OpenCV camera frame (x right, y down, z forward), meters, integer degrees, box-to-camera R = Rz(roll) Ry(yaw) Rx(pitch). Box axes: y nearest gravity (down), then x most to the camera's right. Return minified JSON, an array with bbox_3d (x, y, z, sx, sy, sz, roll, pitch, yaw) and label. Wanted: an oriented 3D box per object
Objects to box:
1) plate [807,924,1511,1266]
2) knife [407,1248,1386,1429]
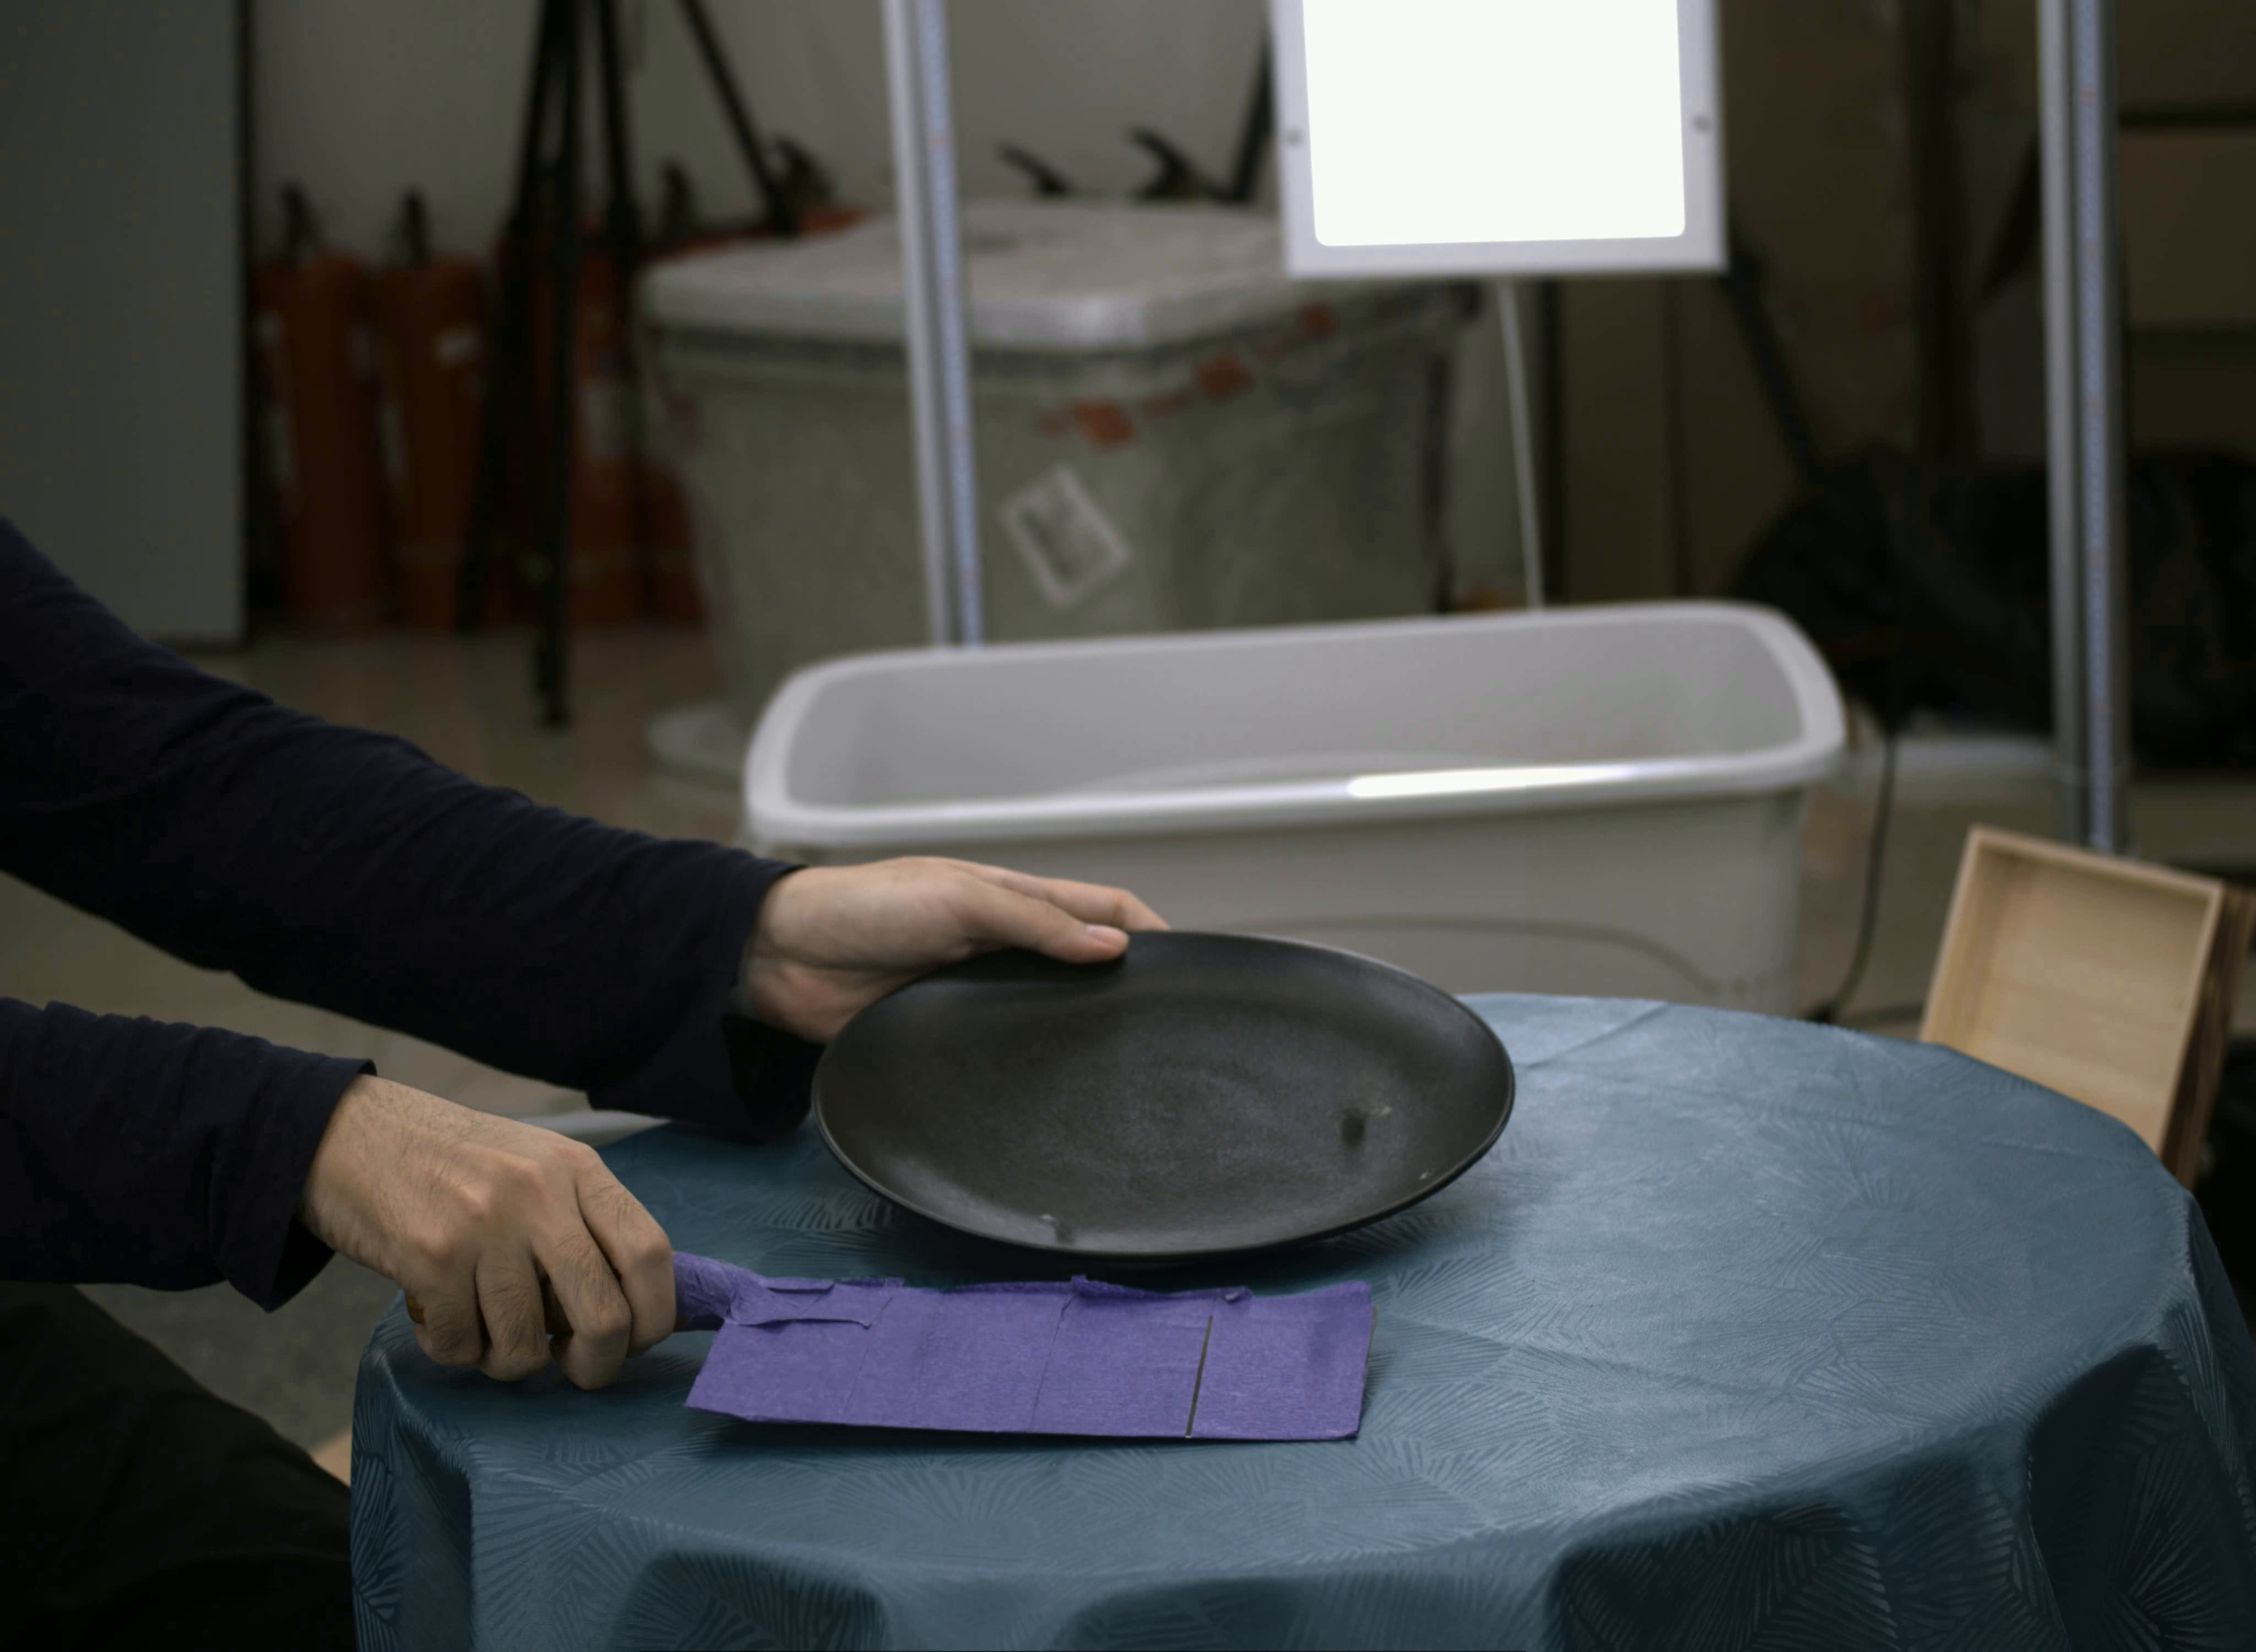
[{"bbox_3d":[0.011,0.096,1.897,0.244,0.023,0.244,-3,26,0],"label":"plate"},{"bbox_3d":[-0.078,0.159,1.713,0.317,0.032,0.103,-1,20,11],"label":"knife"}]
